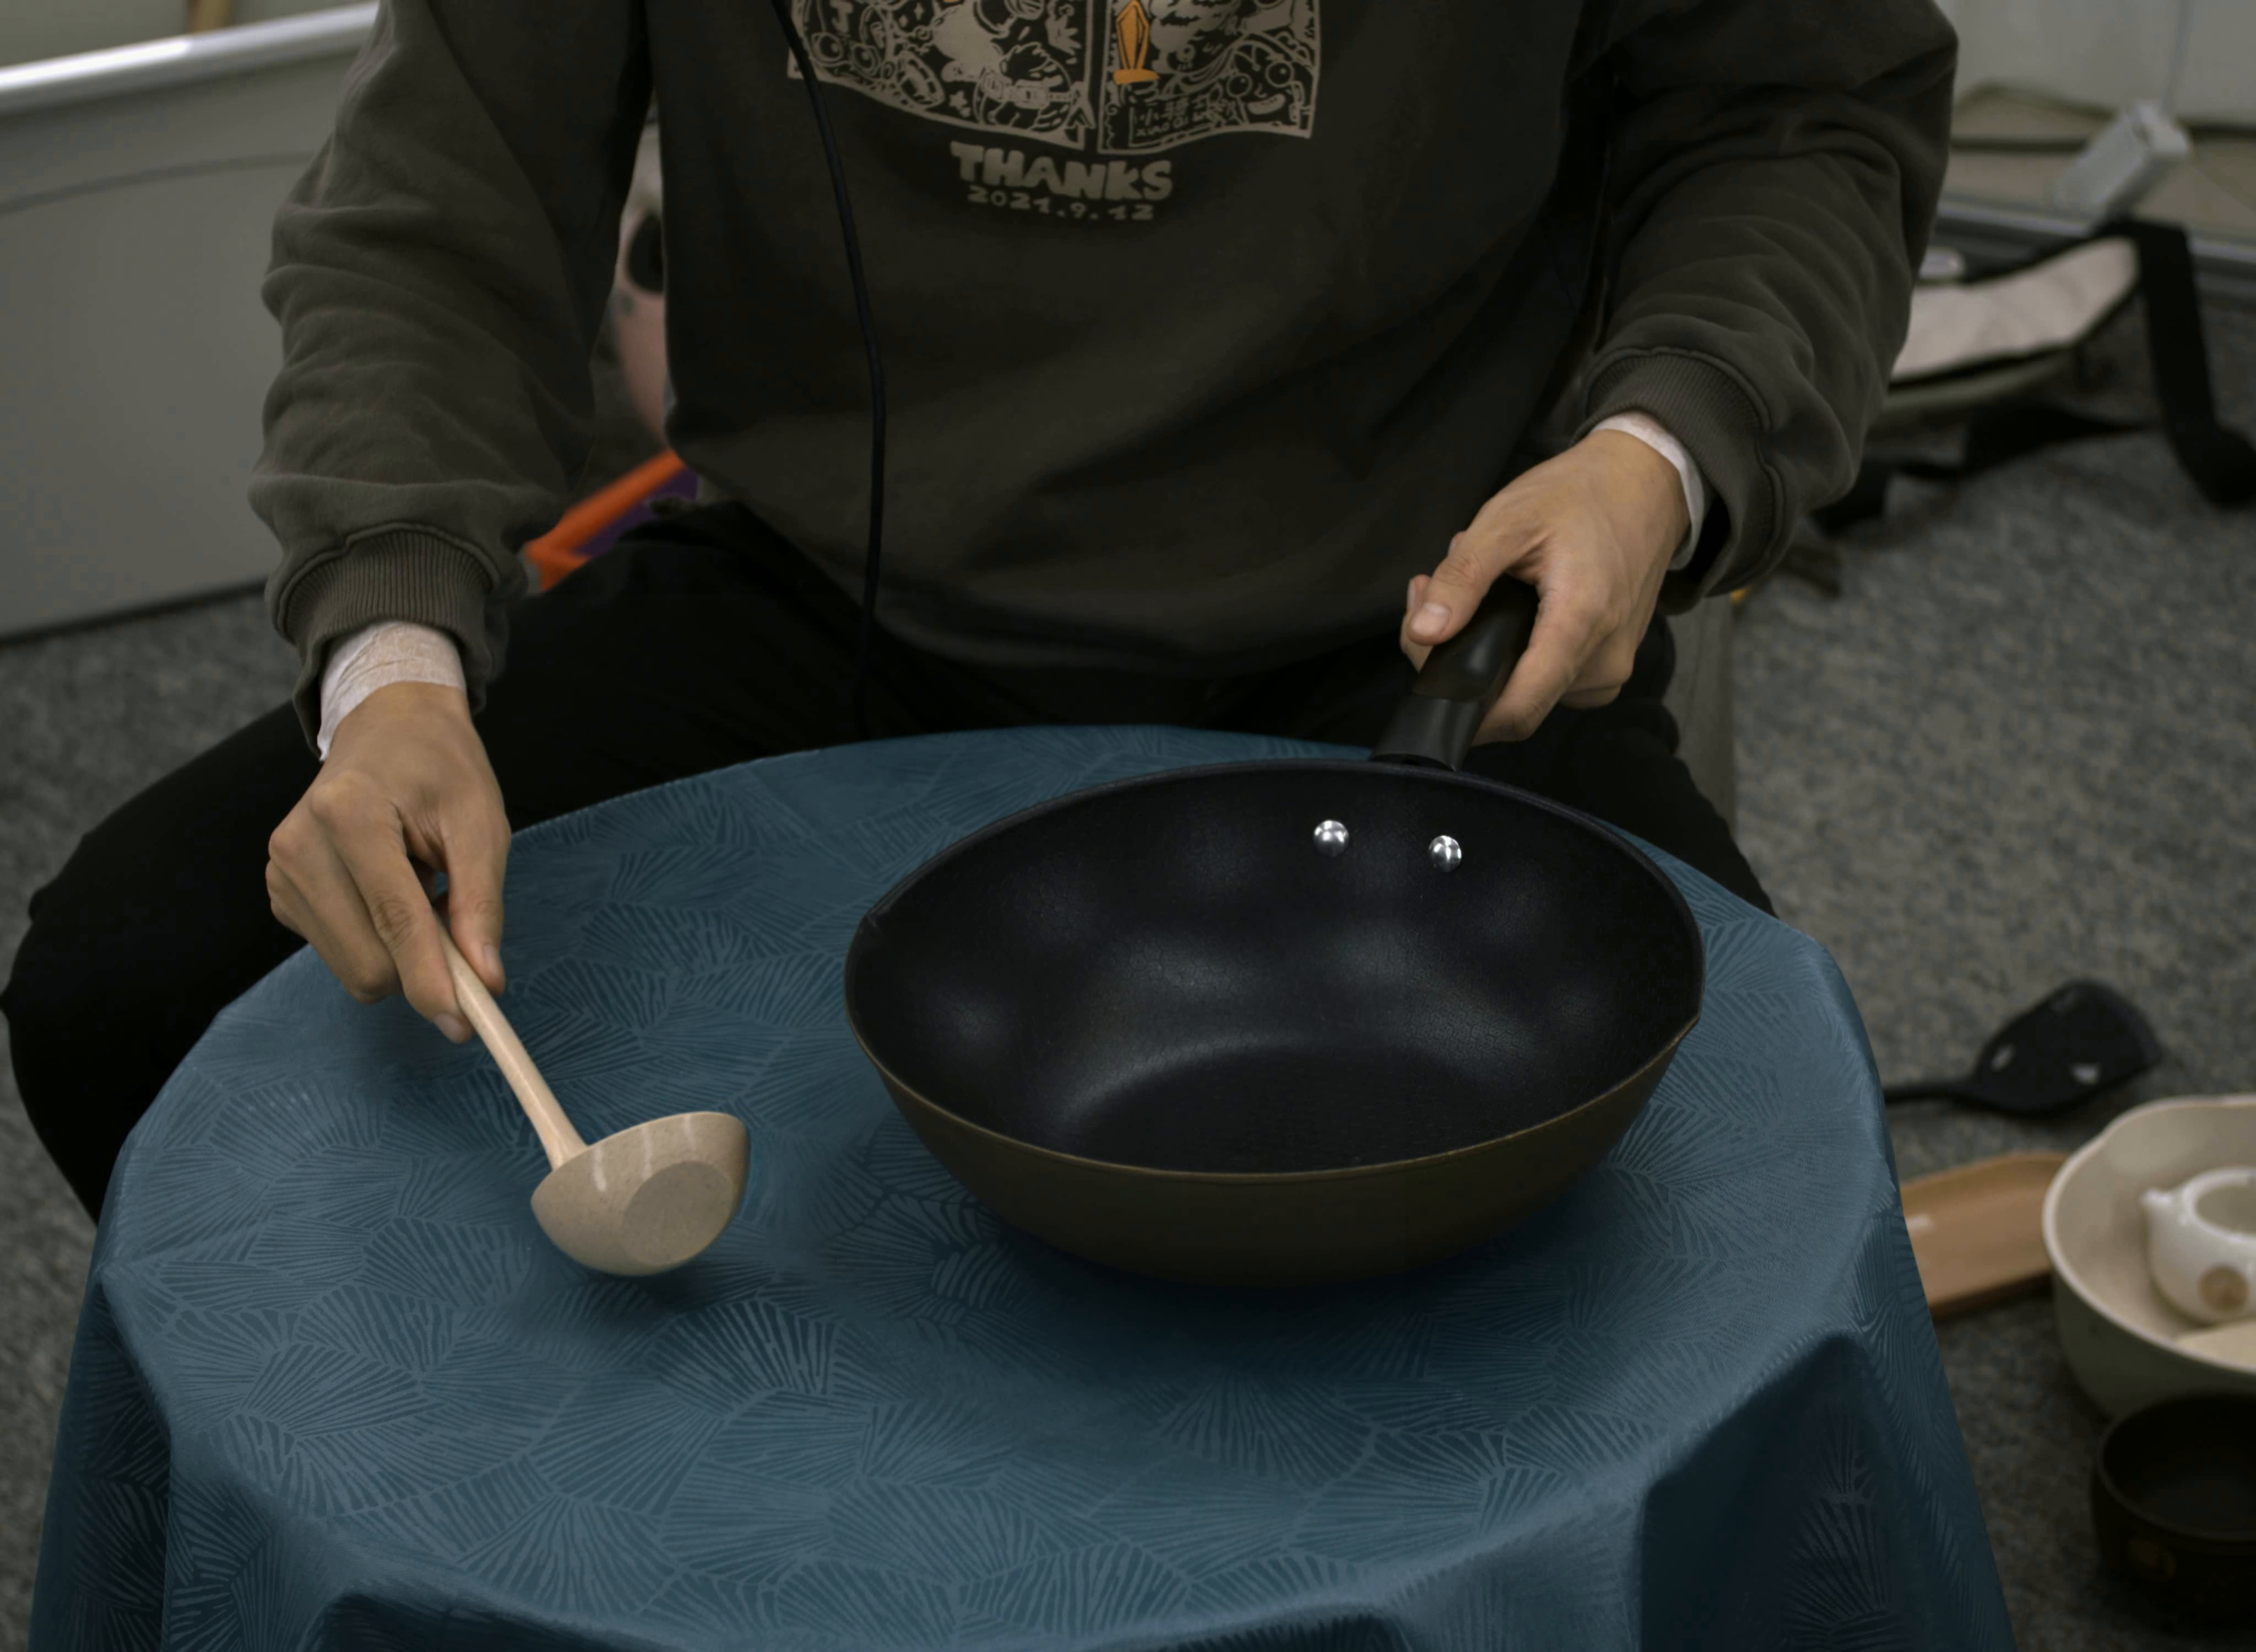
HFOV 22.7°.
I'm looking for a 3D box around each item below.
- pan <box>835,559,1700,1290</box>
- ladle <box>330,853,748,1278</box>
[{"bbox_3d":[0.077,0.035,1.930,0.286,0.086,0.471,7,28,18],"label":"pan"},{"bbox_3d":[-0.206,0.056,1.866,0.072,0.072,0.256,-14,42,-29],"label":"ladle"}]
